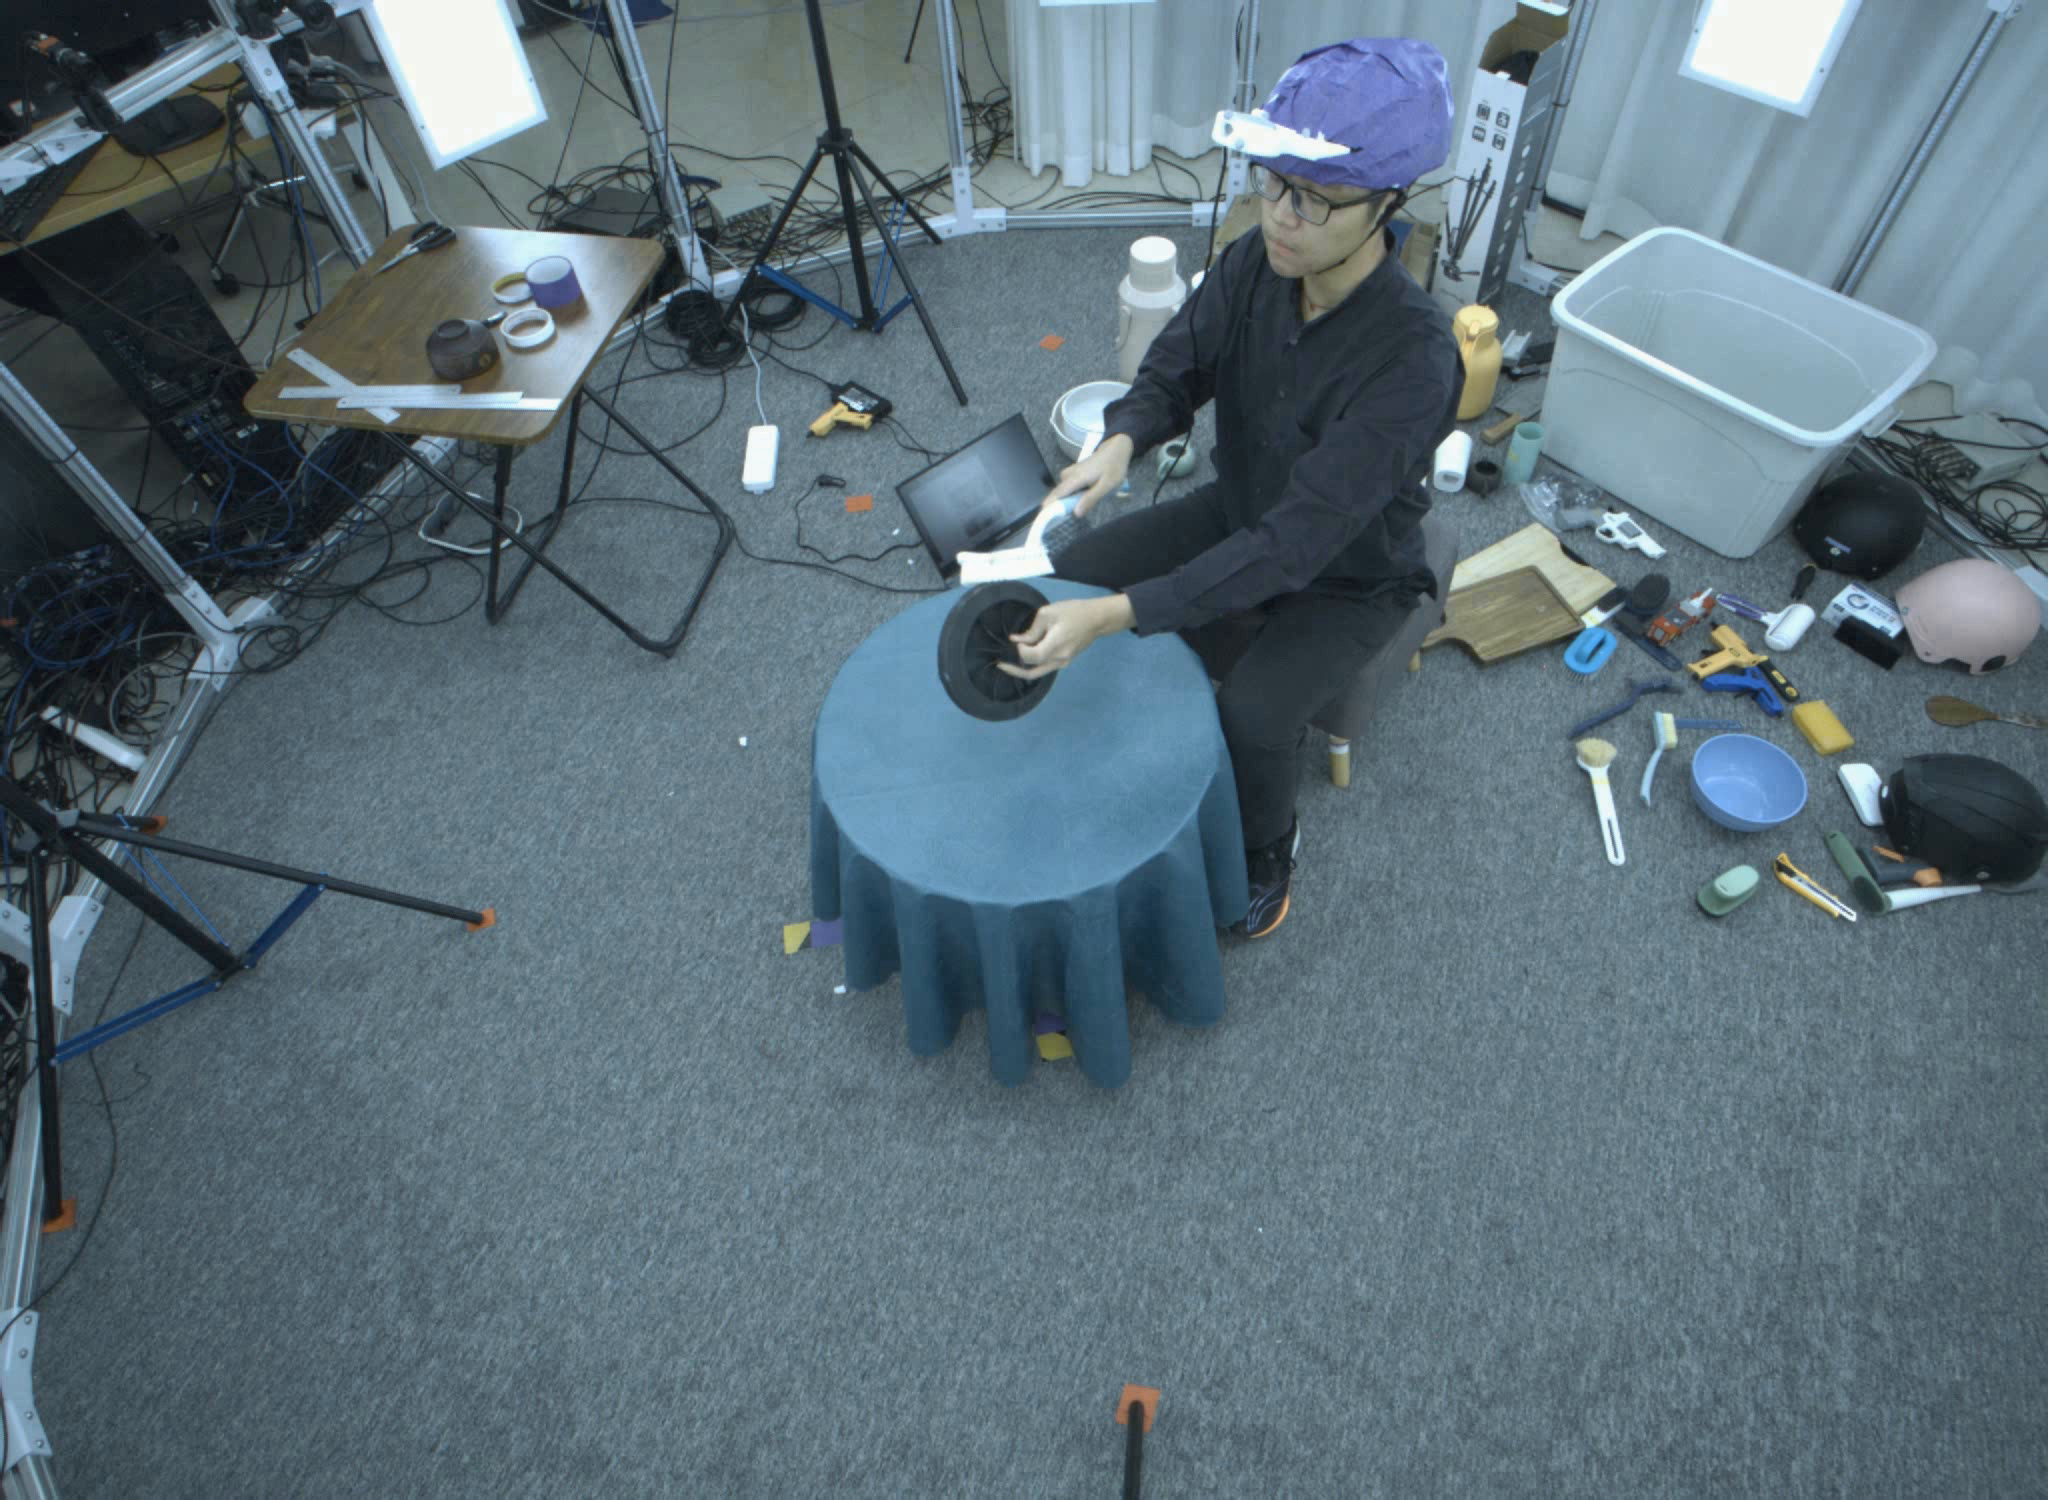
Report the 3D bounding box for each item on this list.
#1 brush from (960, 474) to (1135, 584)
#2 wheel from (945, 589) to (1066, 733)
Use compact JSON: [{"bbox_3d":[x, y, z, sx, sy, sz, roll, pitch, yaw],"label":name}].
[{"bbox_3d":[0.050,-0.286,1.665,0.329,0.085,0.081,-30,51,-34],"label":"brush"},{"bbox_3d":[-0.009,-0.113,1.600,0.077,0.191,0.190,17,65,50],"label":"wheel"}]
